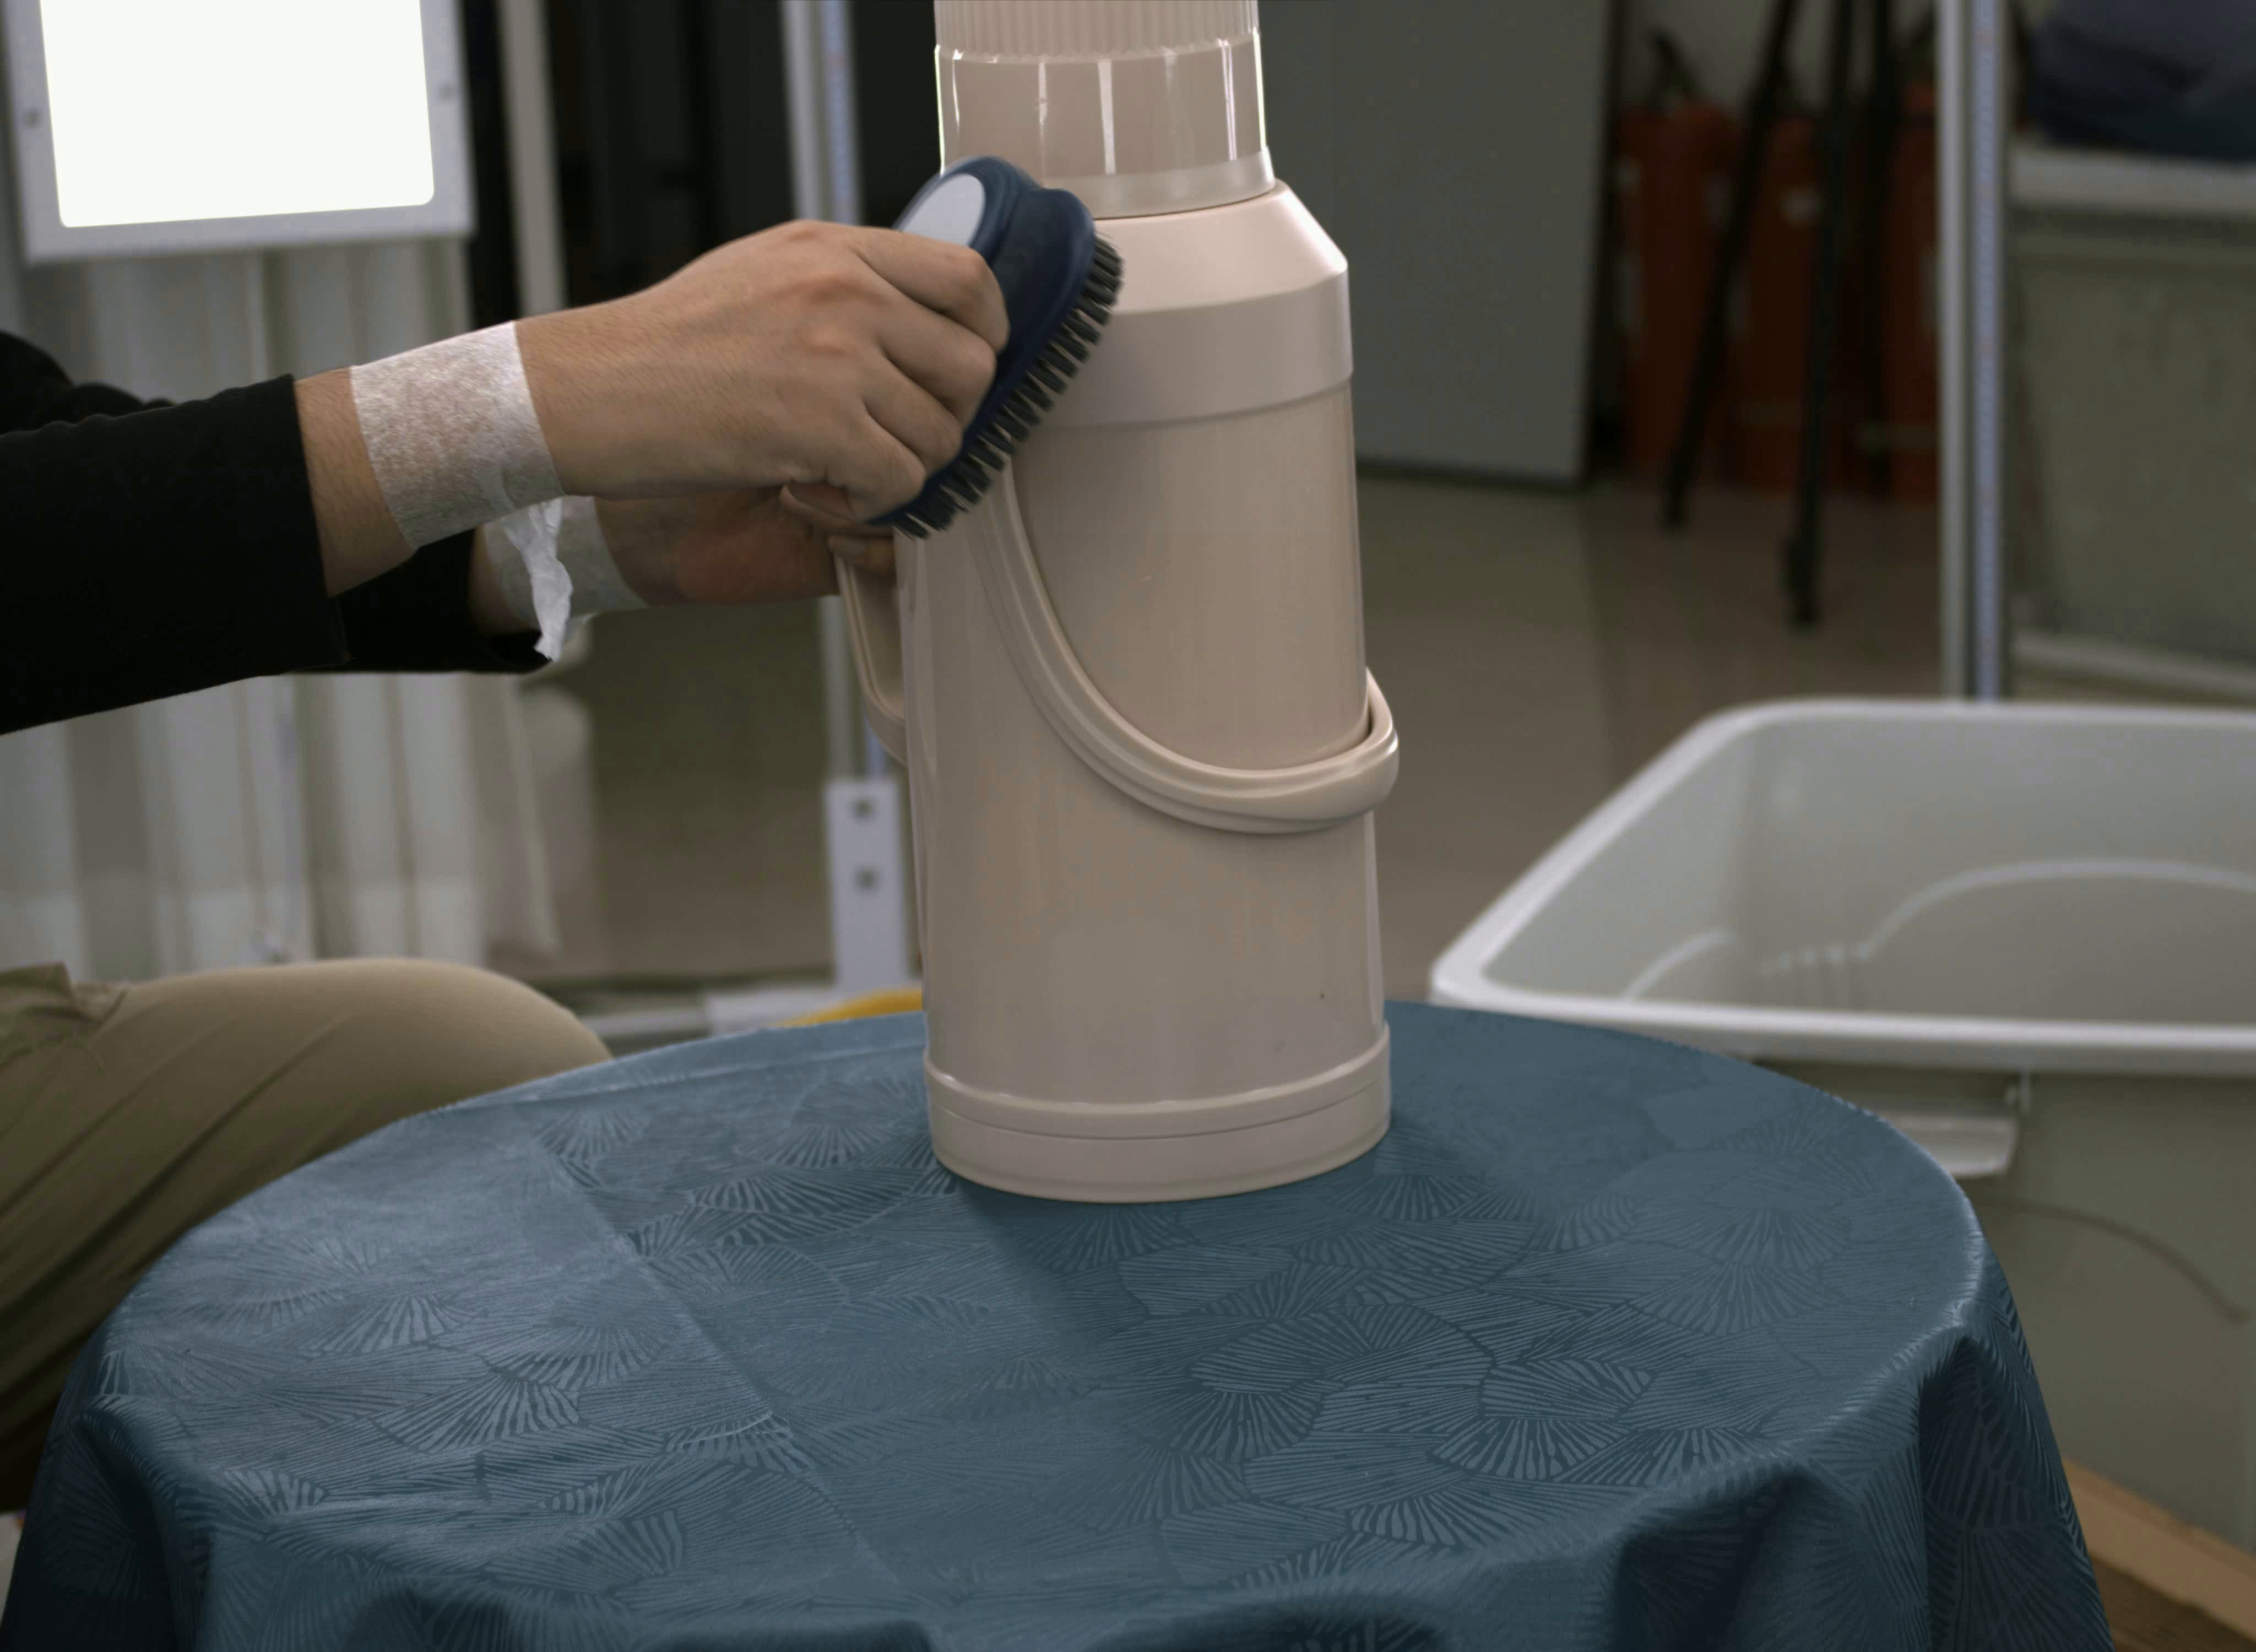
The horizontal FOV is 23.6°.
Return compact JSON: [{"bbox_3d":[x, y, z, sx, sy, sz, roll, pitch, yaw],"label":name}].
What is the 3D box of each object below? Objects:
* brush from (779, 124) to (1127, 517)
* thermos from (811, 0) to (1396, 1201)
[{"bbox_3d":[-0.051,-0.151,1.642,0.060,0.122,0.068,31,12,-30],"label":"brush"},{"bbox_3d":[-0.011,-0.091,1.798,0.208,0.410,0.172,5,17,33],"label":"thermos"}]
